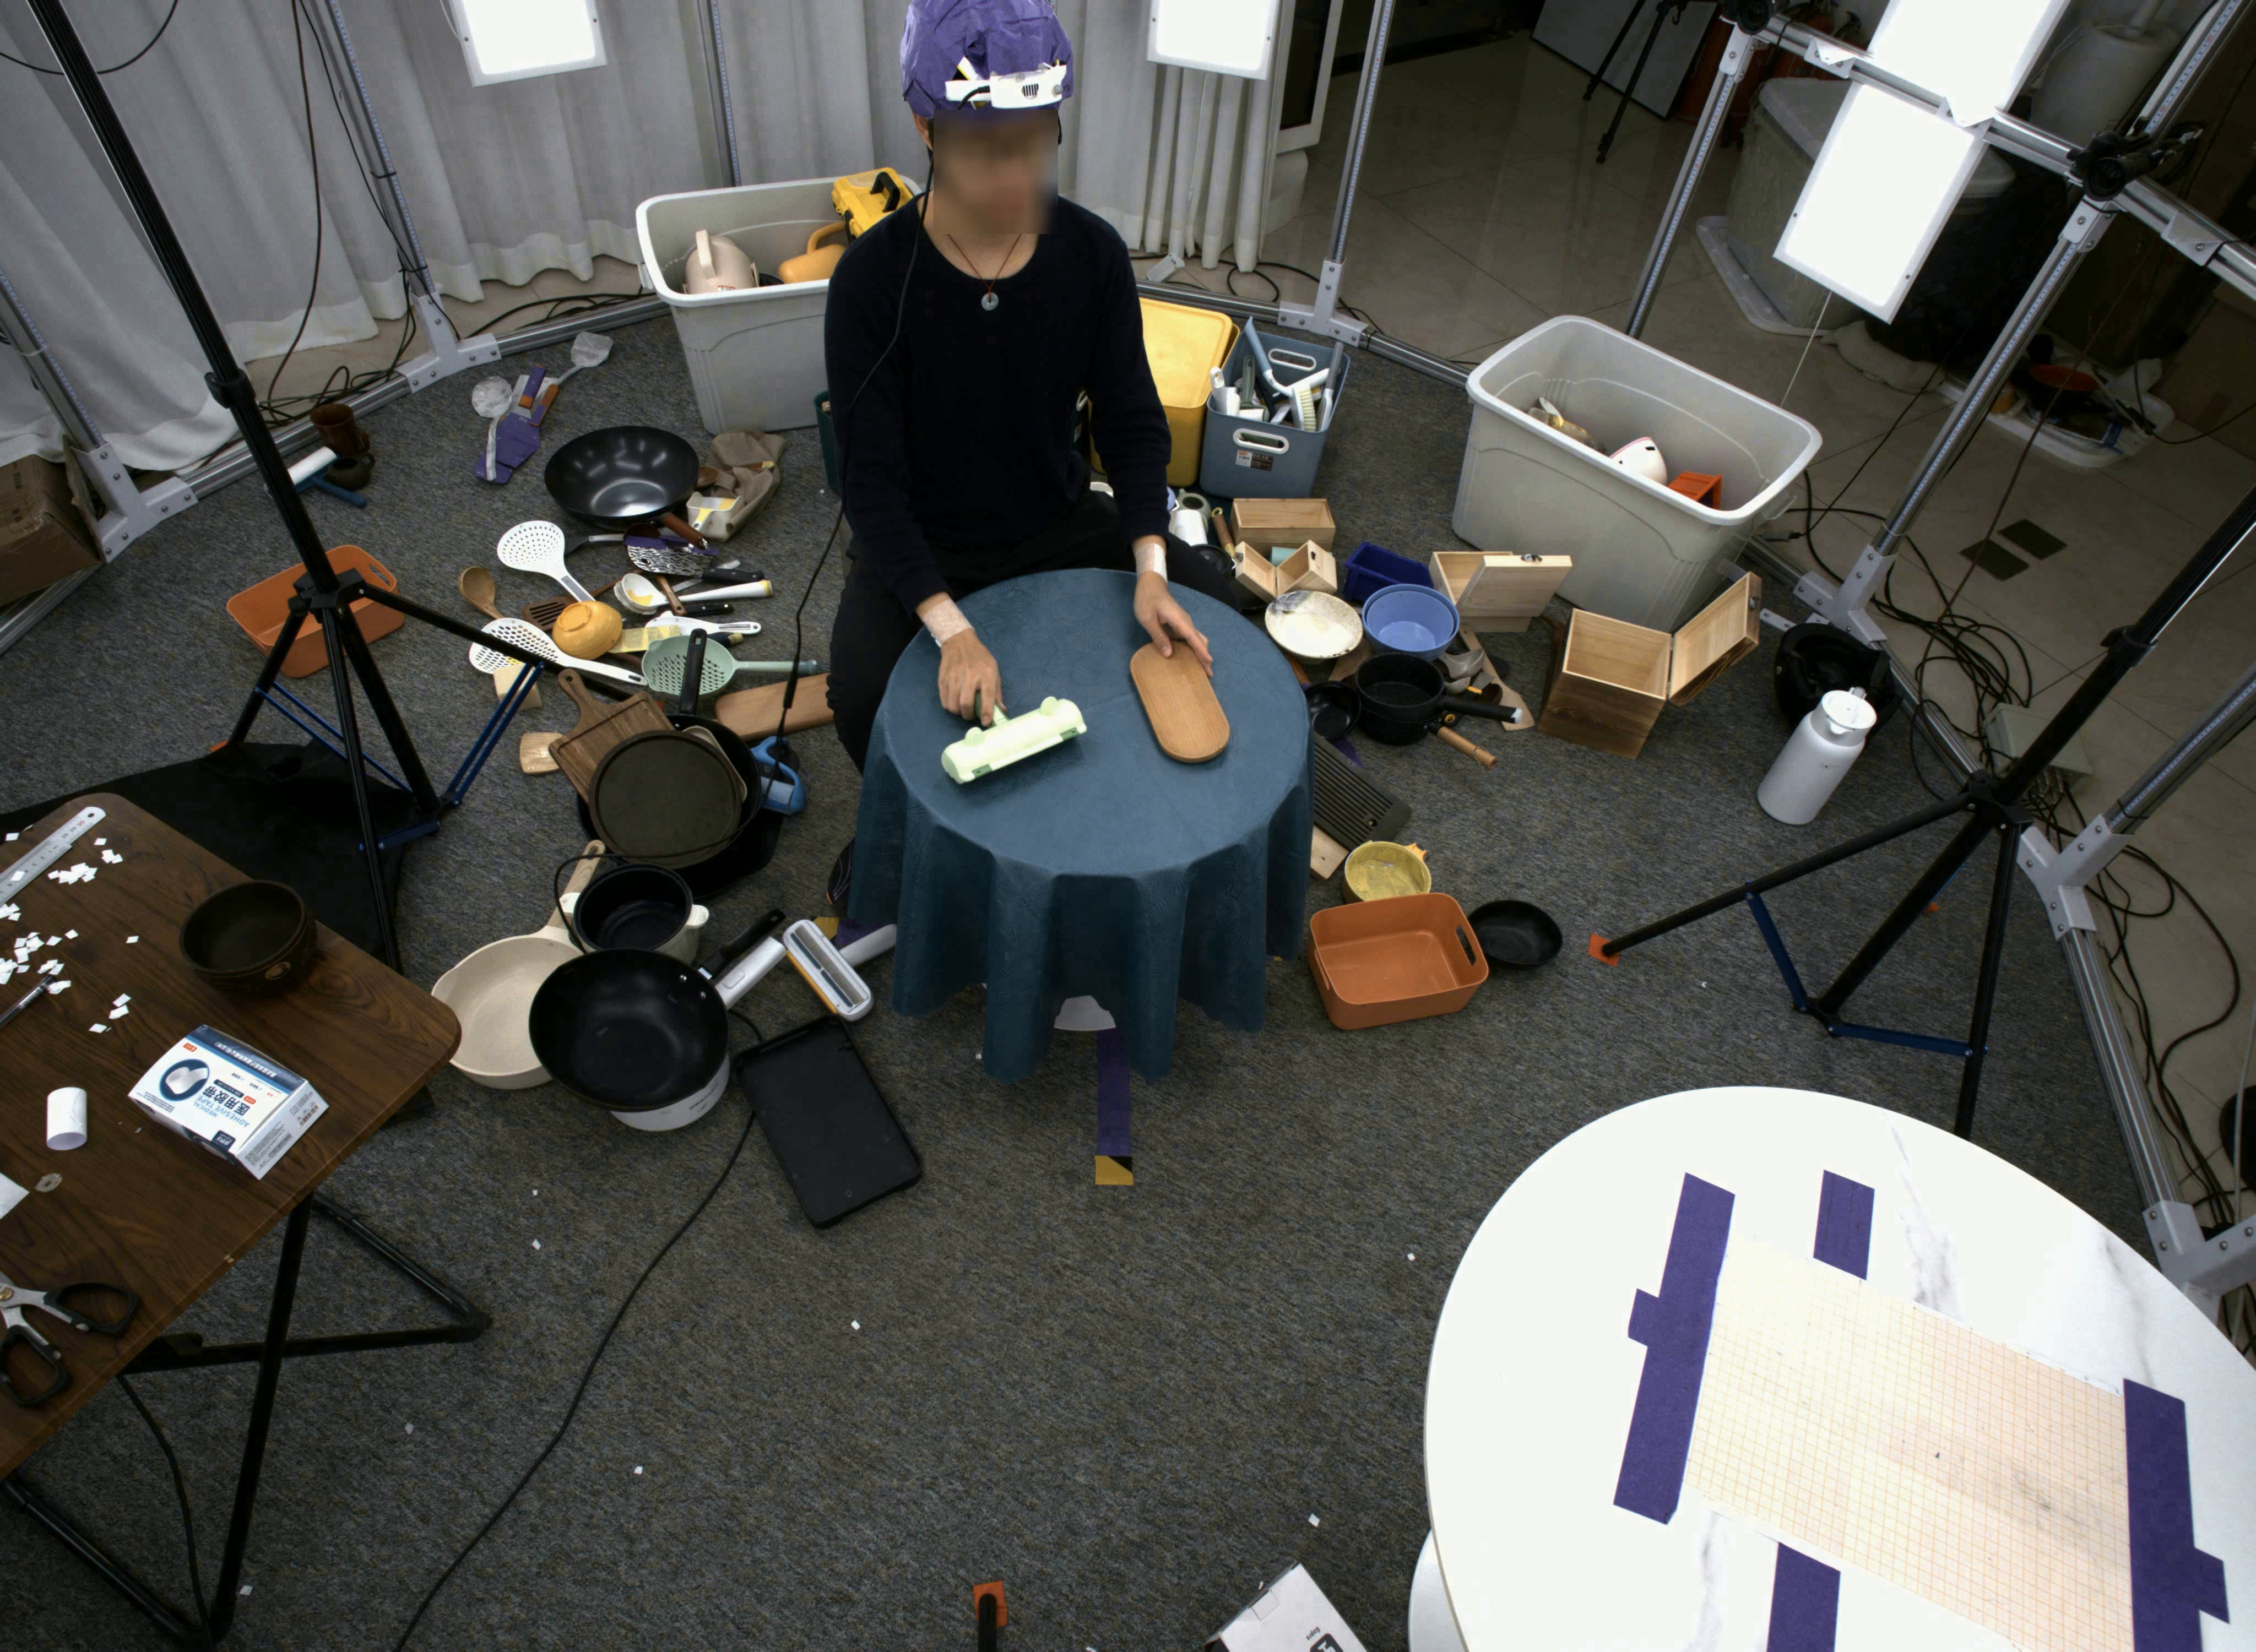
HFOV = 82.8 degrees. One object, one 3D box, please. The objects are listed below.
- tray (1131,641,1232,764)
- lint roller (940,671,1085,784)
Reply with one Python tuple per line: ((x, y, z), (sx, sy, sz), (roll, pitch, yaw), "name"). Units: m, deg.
((0.074, -0.176, 1.809), (0.101, 0.020, 0.237), (-17, 53, -5), "tray")
((-0.183, -0.161, 1.734), (0.199, 0.080, 0.186), (-25, 65, -25), "lint roller")
